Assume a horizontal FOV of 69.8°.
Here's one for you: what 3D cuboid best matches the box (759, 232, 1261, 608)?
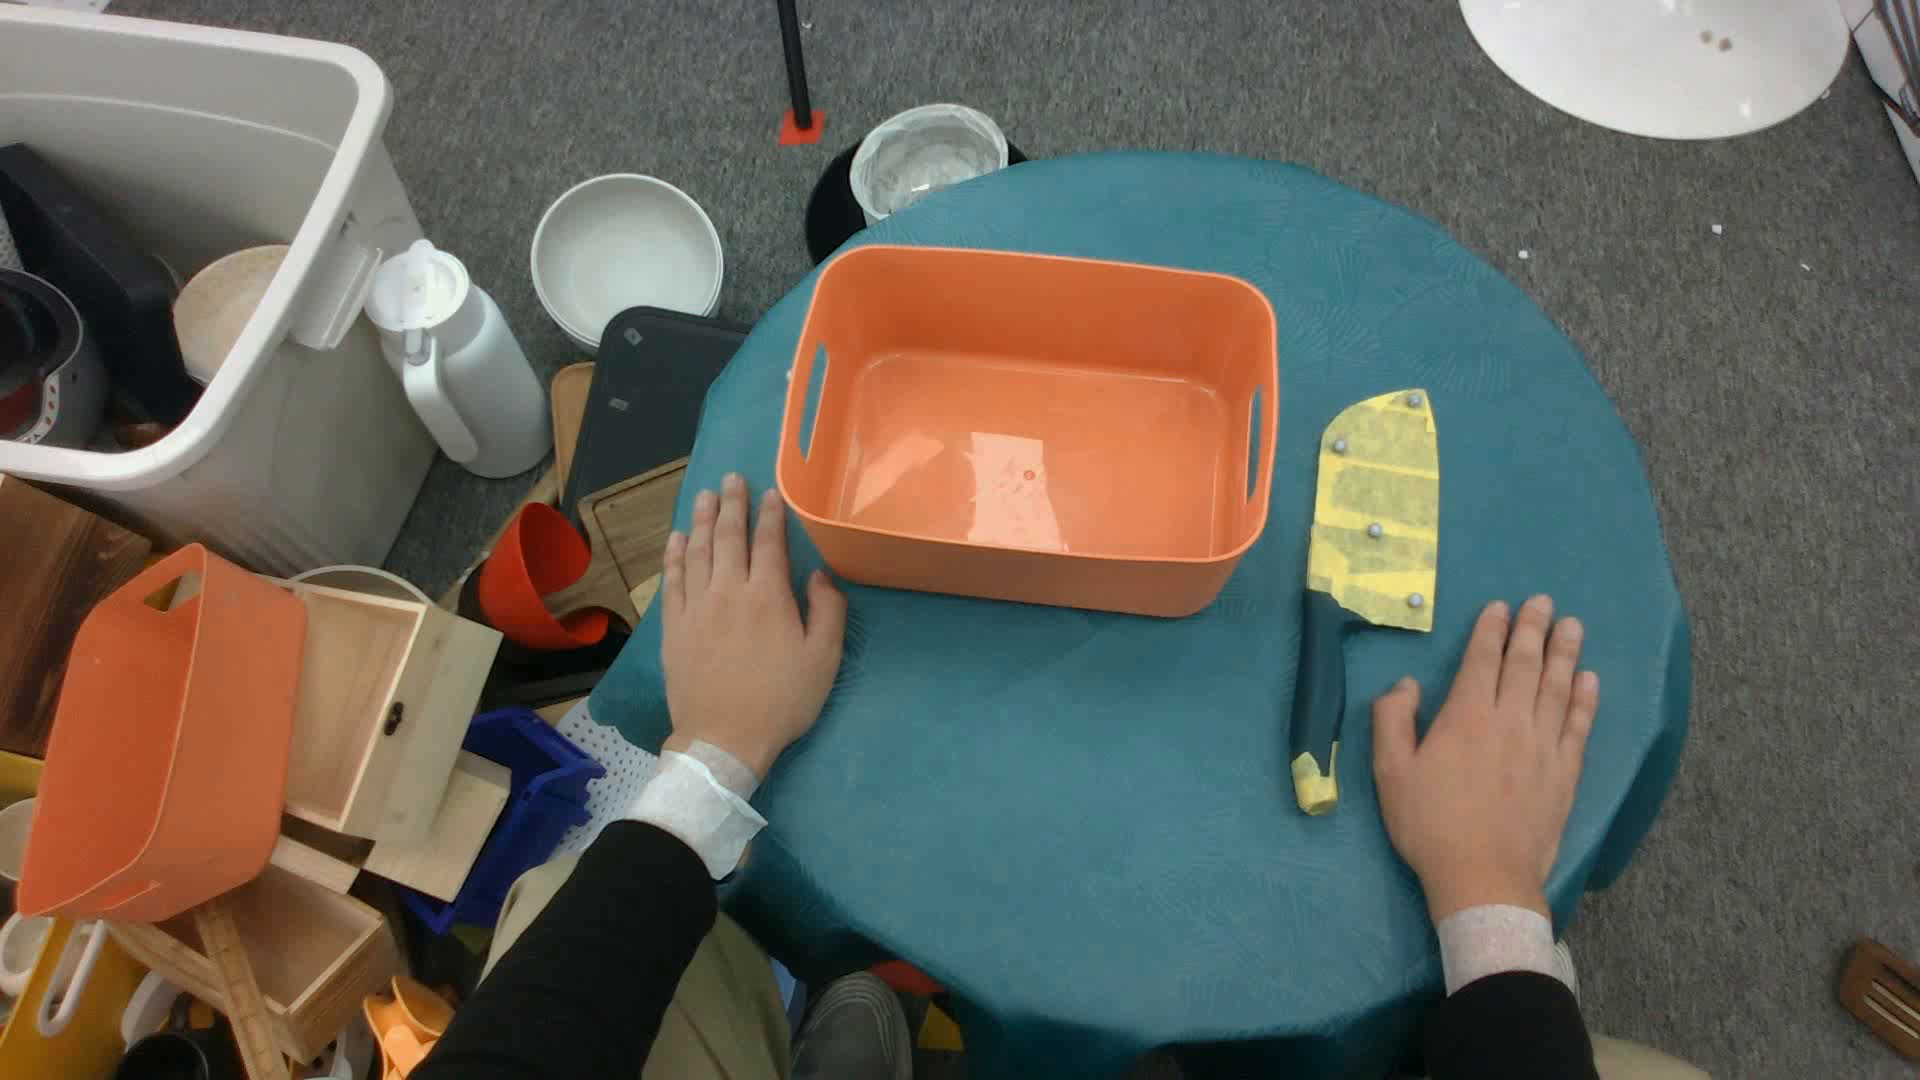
[{"bbox_3d":[0.032,-0.065,0.809,0.273,0.102,0.200,6,62,4],"label":"box"}]

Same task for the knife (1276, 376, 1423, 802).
[{"bbox_3d":[0.230,0.020,0.812,0.081,0.027,0.291,12,63,10],"label":"knife"}]
